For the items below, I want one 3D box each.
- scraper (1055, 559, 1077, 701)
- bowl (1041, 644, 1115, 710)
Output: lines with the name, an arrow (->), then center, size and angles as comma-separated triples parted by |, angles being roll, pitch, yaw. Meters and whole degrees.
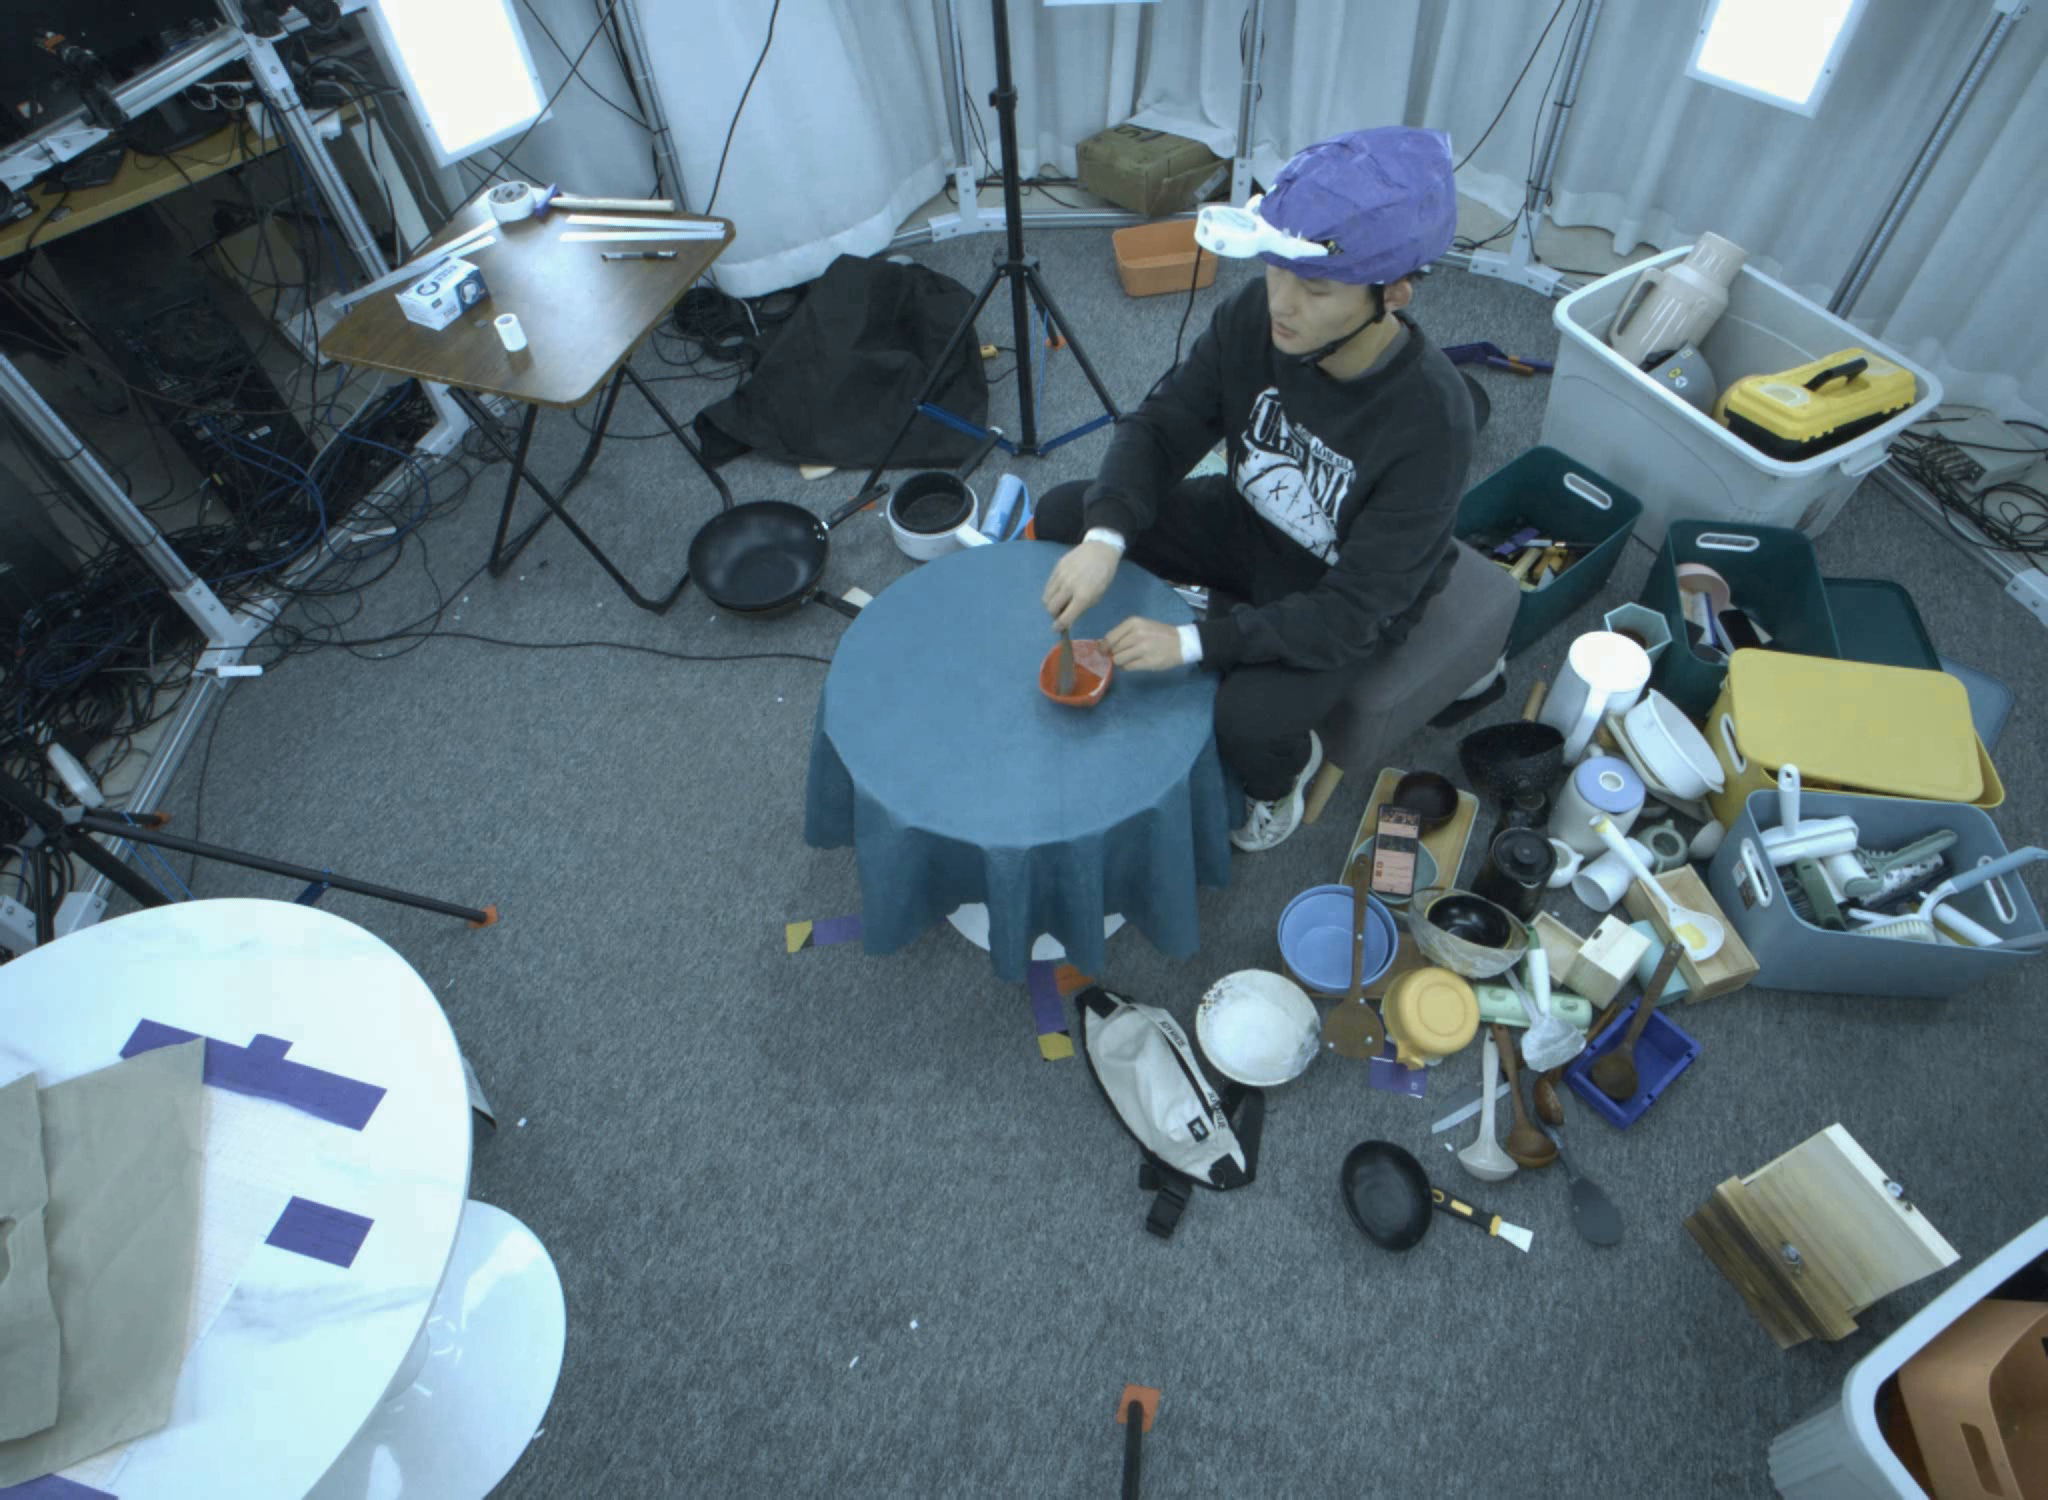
scraper -> 0.060, -0.176, 1.804 | 0.011, 0.075, 0.210 | 1, 83, -18
bowl -> 0.086, -0.101, 1.827 | 0.118, 0.052, 0.117 | -10, 53, 15
